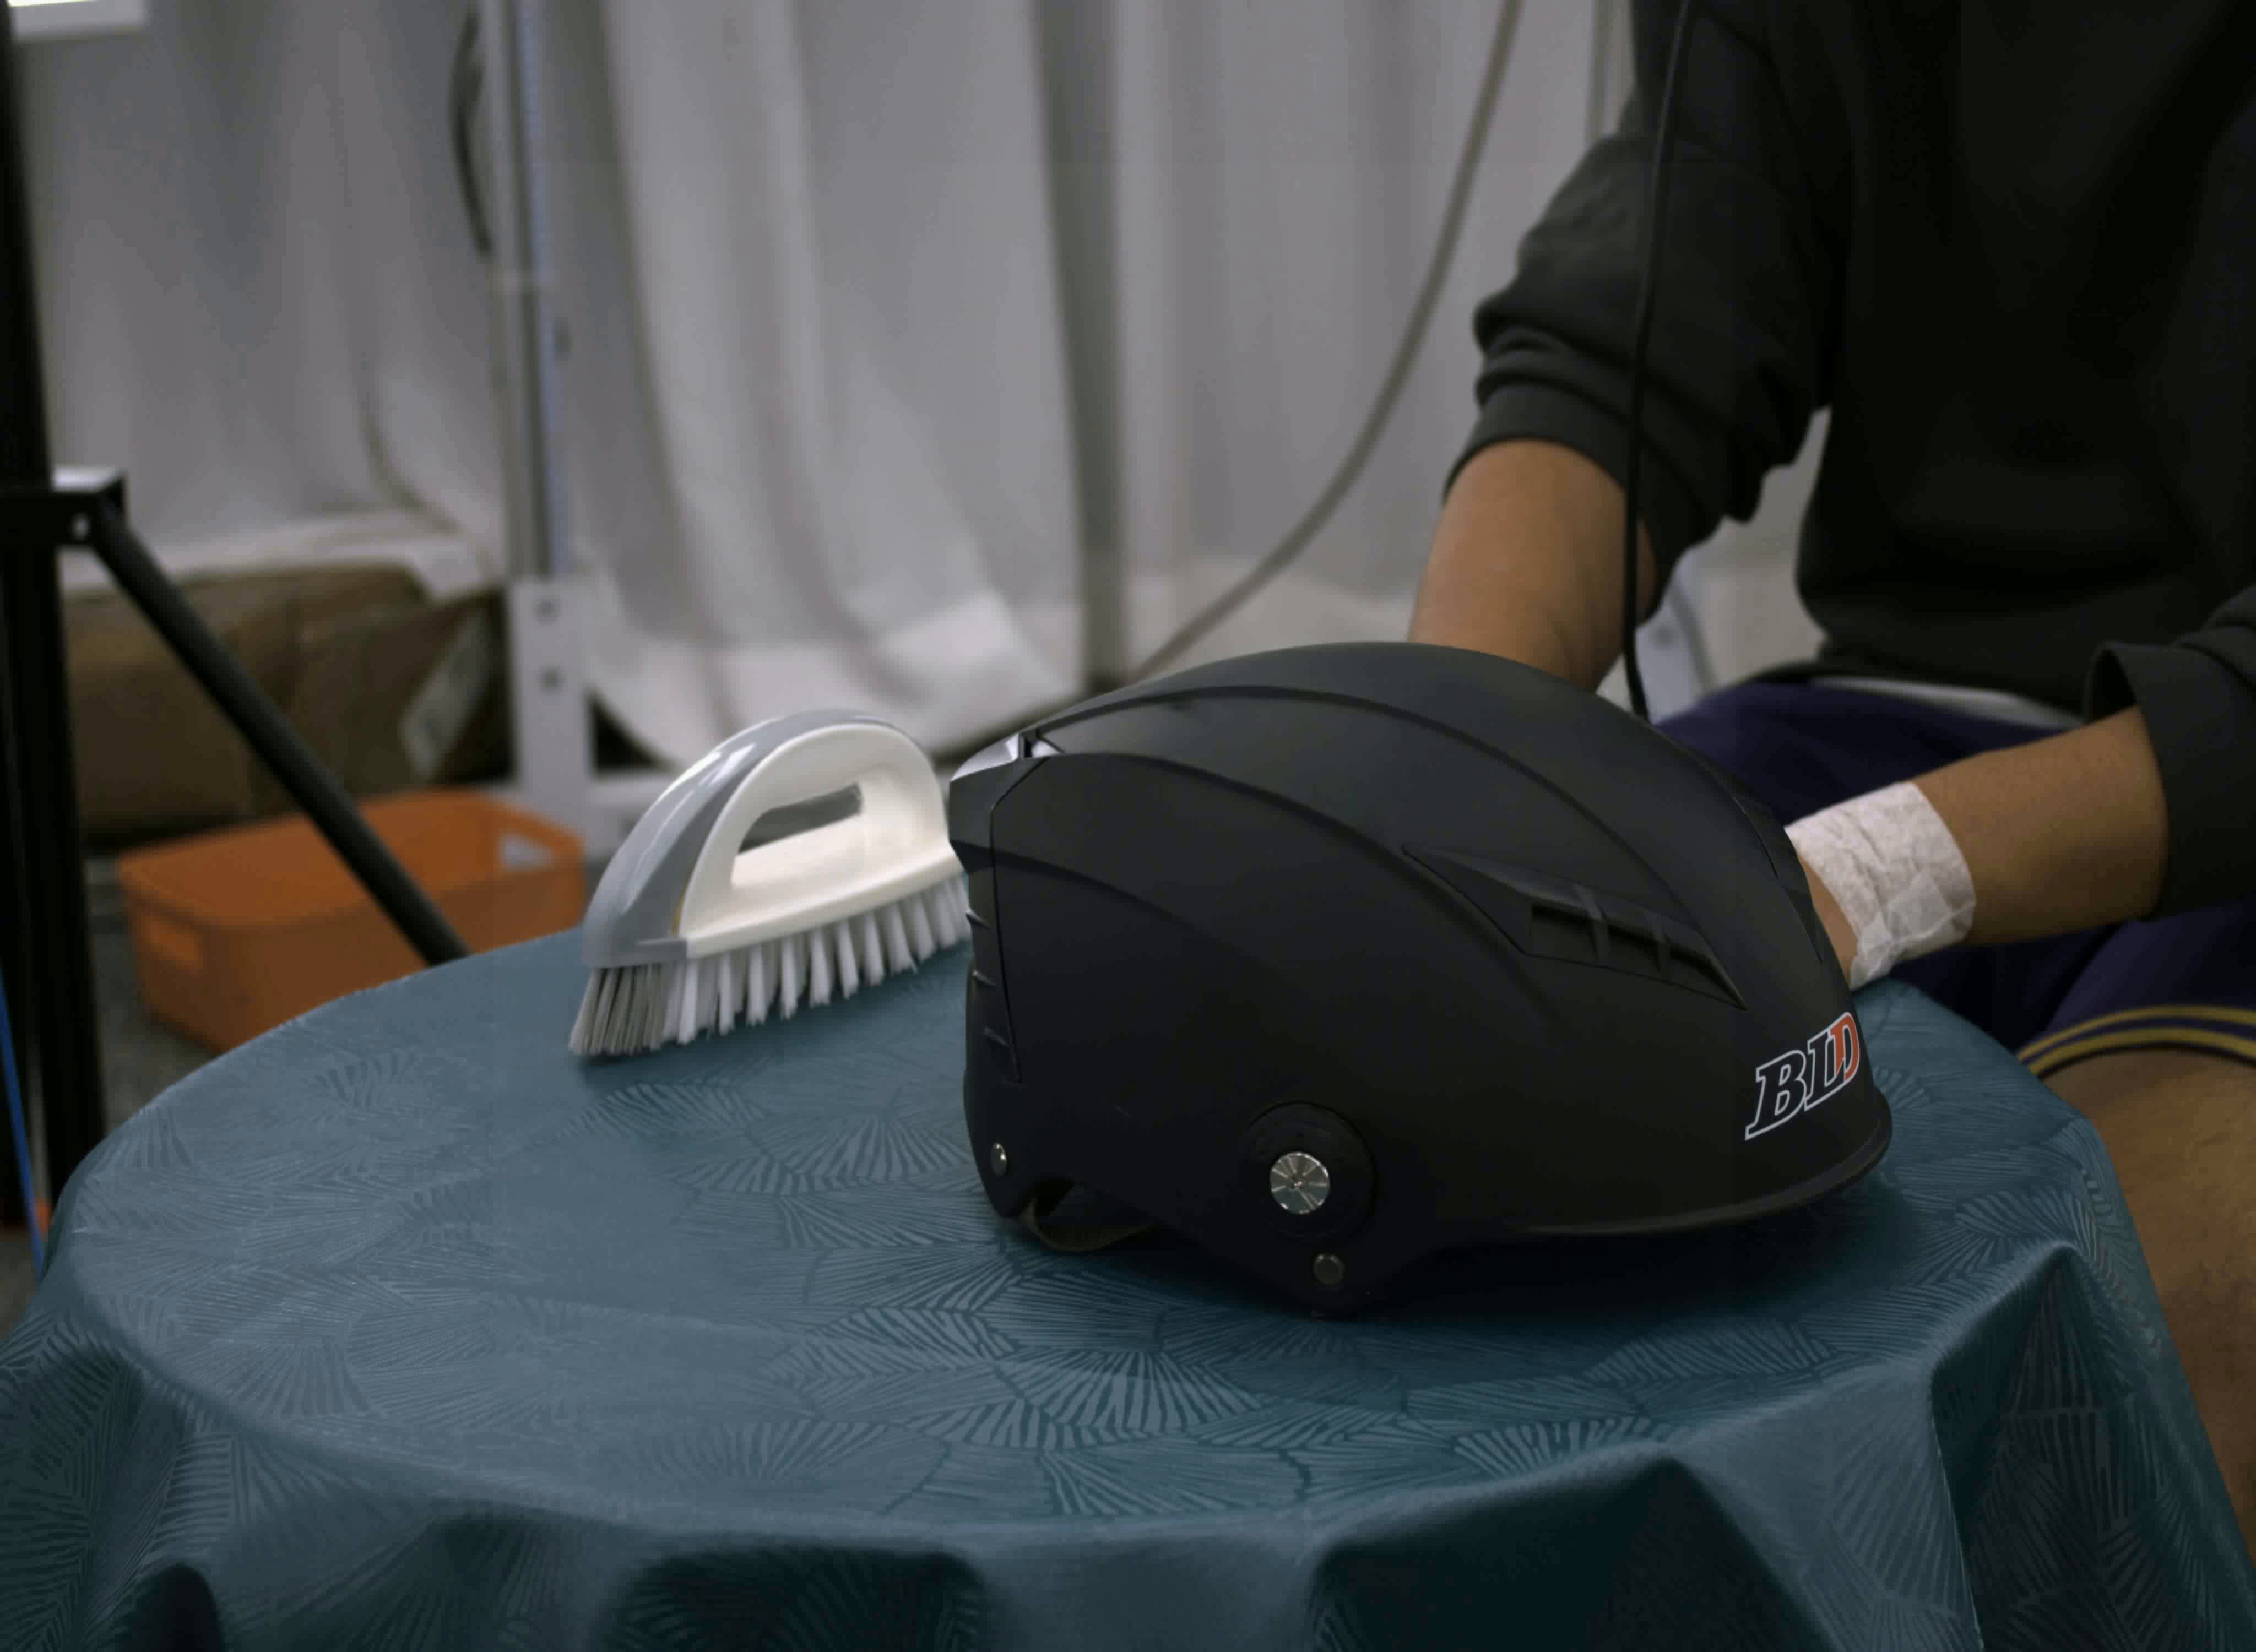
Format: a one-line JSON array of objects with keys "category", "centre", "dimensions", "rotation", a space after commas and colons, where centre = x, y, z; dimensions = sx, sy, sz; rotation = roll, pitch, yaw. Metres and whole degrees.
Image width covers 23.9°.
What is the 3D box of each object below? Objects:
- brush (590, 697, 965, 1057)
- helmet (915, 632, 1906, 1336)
[{"category": "brush", "centre": [-0.119, 0.013, 1.751], "dimensions": [0.063, 0.094, 0.172], "rotation": [8, 20, 38]}, {"category": "helmet", "centre": [0.078, 0.032, 1.528], "dimensions": [0.282, 0.172, 0.242], "rotation": [4, 17, 36]}]
